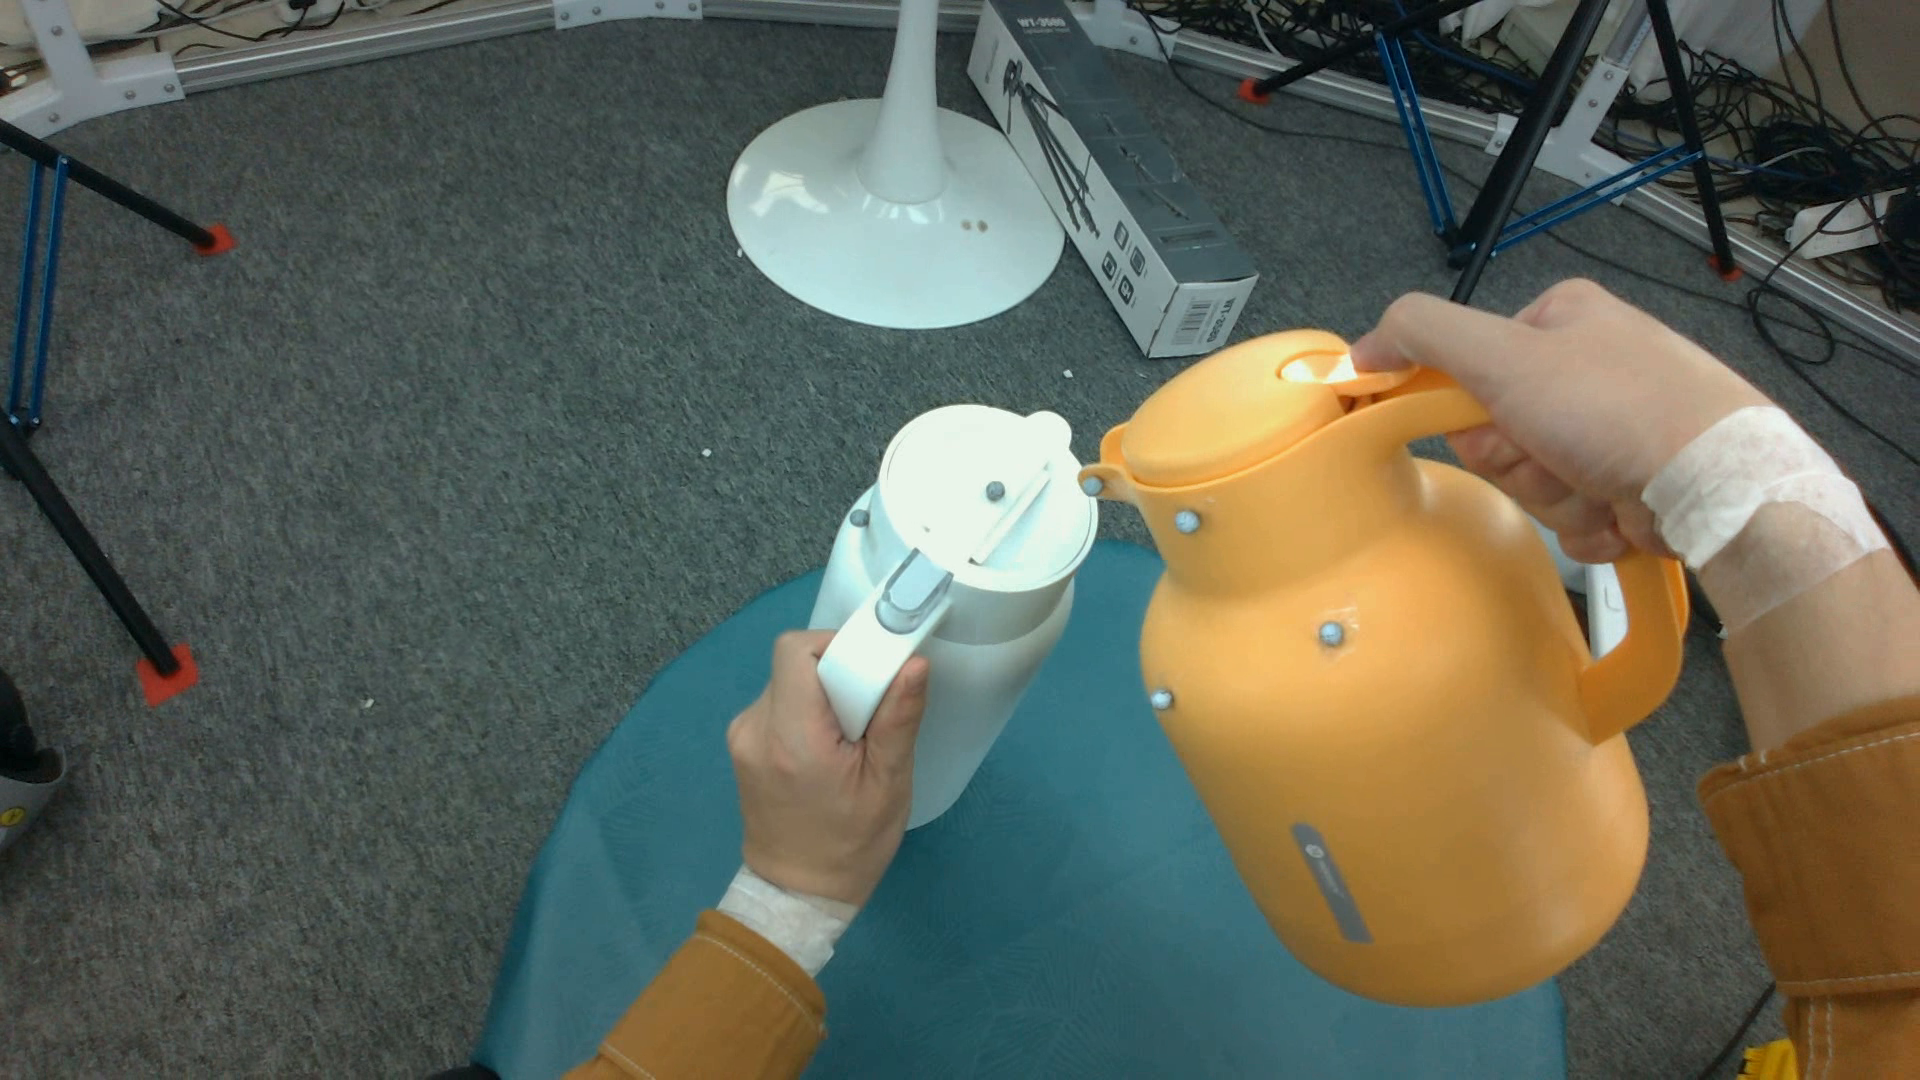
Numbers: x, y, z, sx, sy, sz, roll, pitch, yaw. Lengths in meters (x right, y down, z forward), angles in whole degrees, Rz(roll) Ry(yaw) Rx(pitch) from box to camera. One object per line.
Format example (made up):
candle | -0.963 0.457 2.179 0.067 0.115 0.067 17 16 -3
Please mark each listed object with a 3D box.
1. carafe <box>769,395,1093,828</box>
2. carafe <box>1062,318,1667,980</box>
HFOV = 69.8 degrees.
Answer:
carafe | -0.030 0.058 0.691 0.124 0.267 0.173 36 55 5
carafe | 0.166 0.037 0.533 0.260 0.201 0.164 56 47 -23
